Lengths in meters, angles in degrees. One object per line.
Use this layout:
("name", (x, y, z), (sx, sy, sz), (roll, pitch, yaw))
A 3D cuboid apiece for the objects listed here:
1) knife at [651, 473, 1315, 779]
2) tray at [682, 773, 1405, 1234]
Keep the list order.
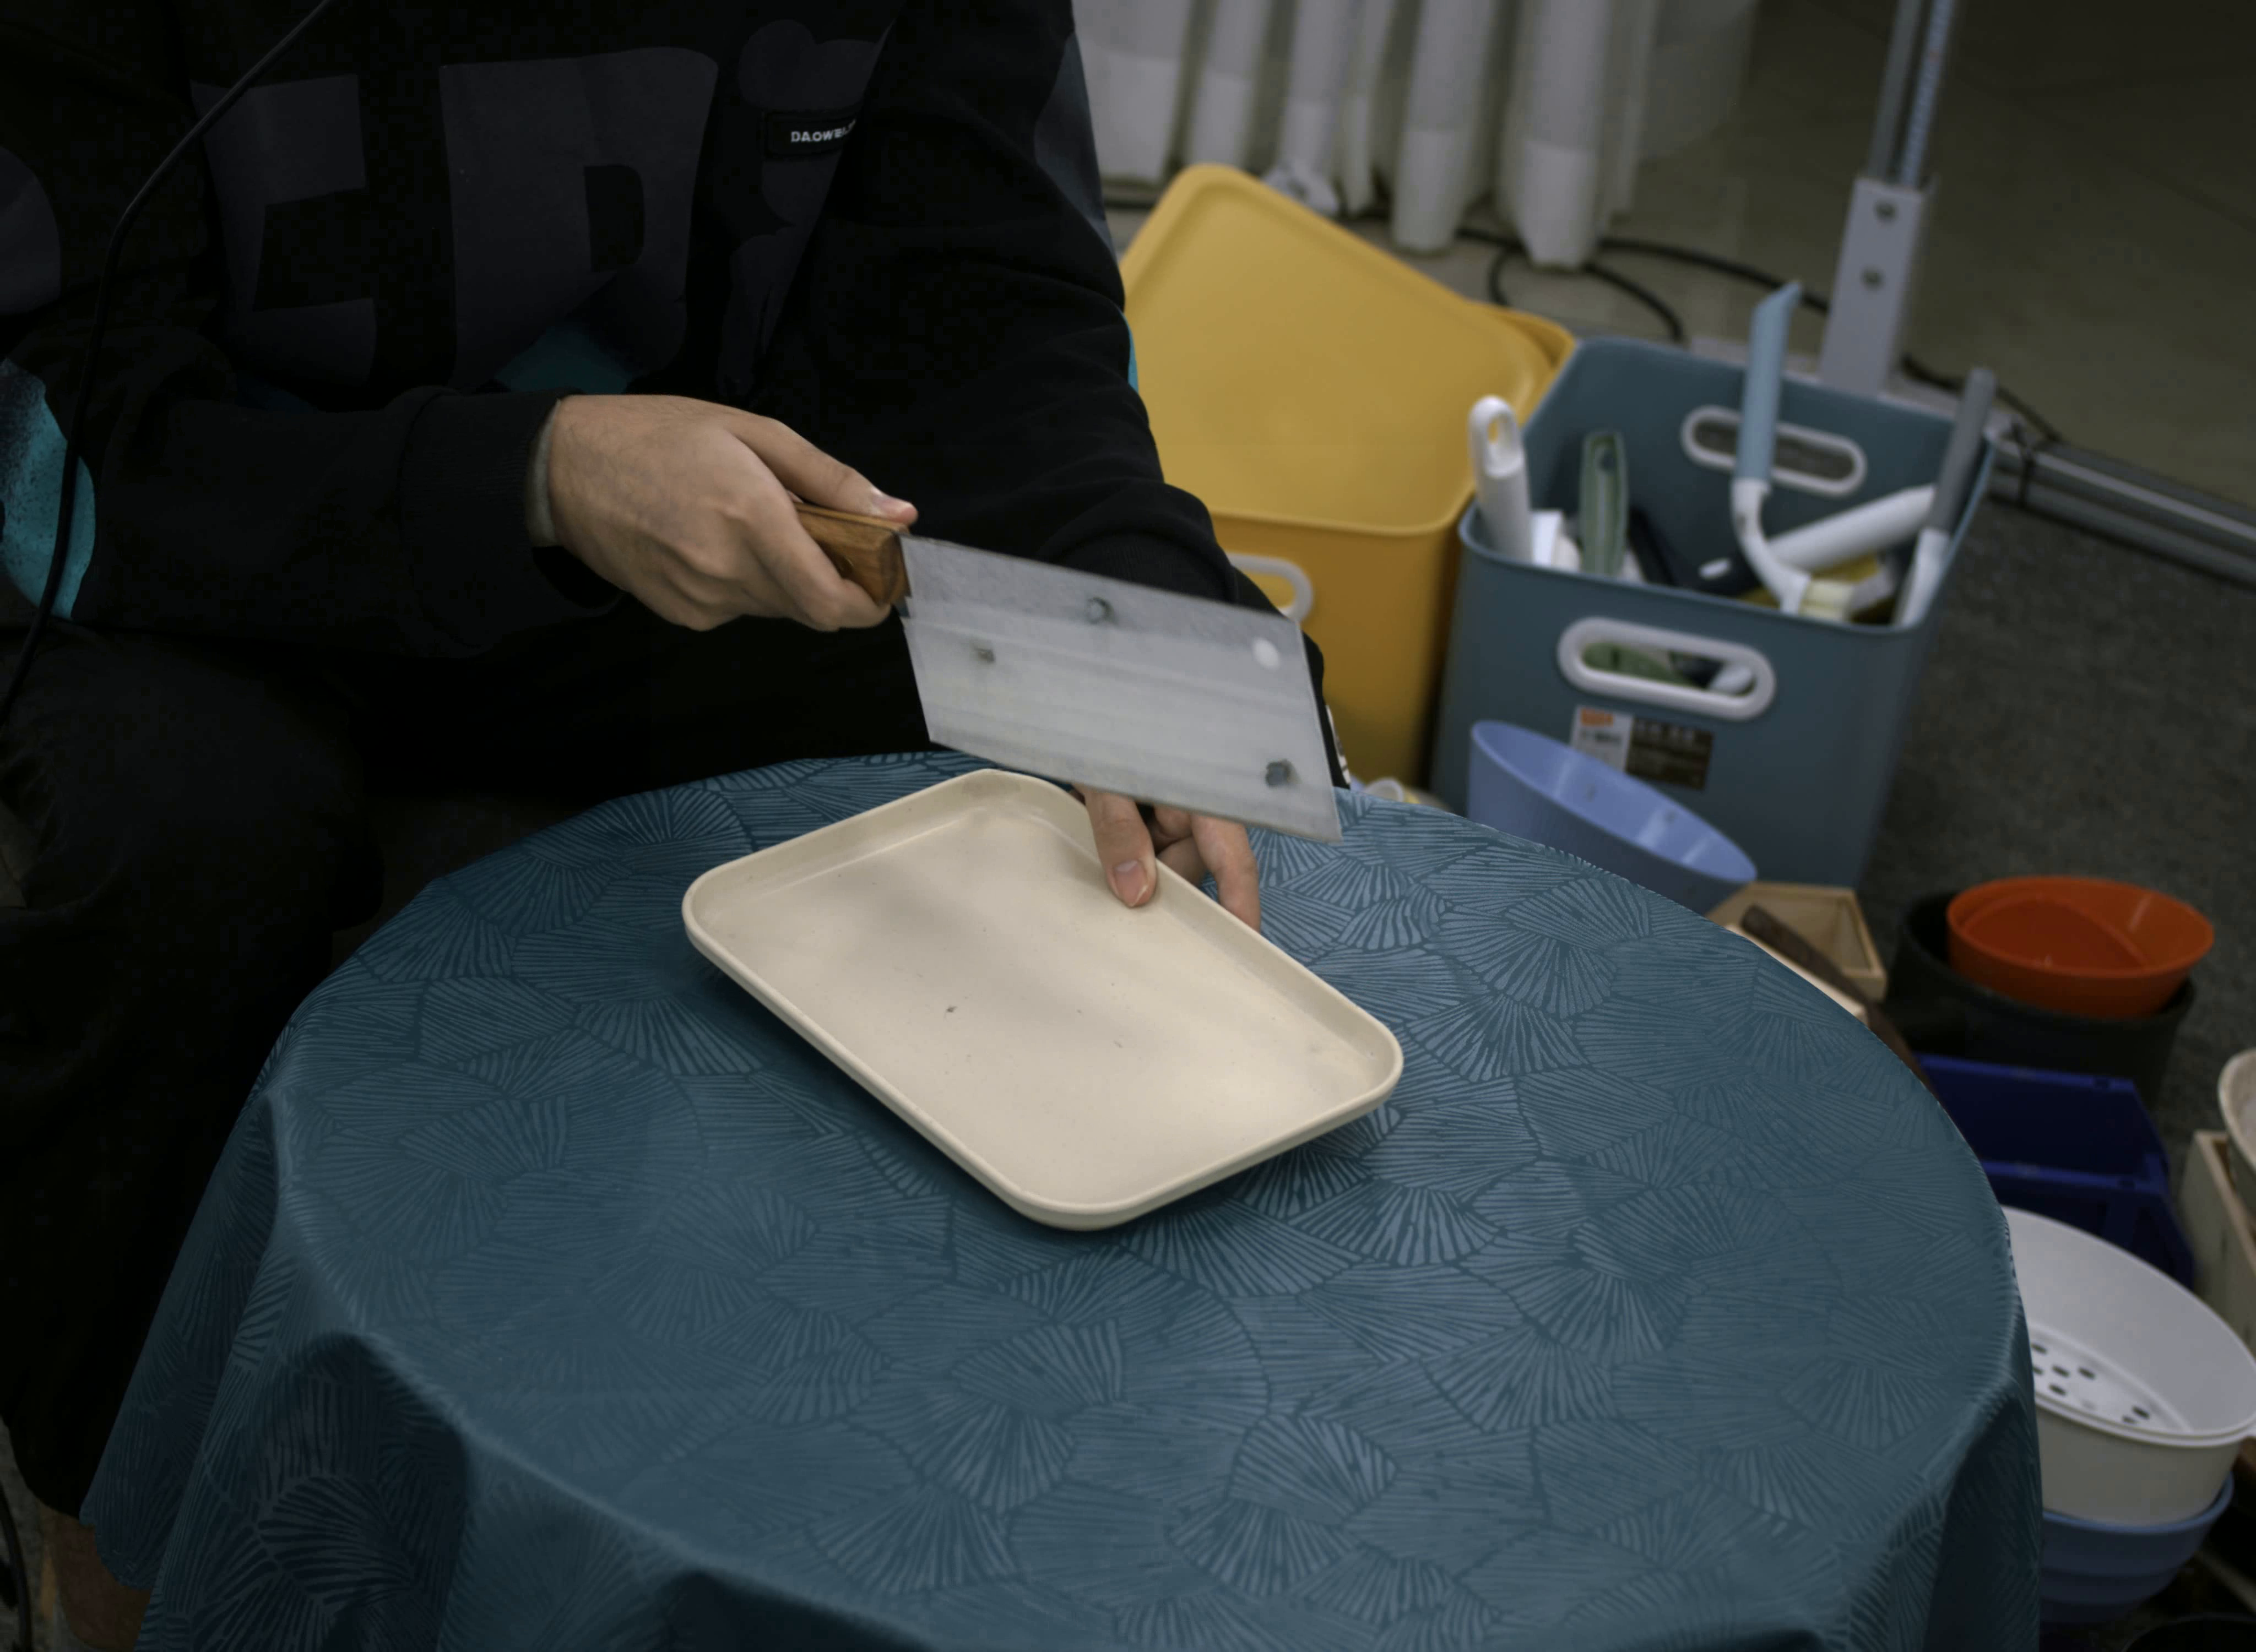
("knife", (-0.053, -0.069, 1.879), (0.308, 0.092, 0.021), (15, 49, 43))
("tray", (-0.032, 0.060, 1.874), (0.170, 0.017, 0.242), (-22, 41, -33))
